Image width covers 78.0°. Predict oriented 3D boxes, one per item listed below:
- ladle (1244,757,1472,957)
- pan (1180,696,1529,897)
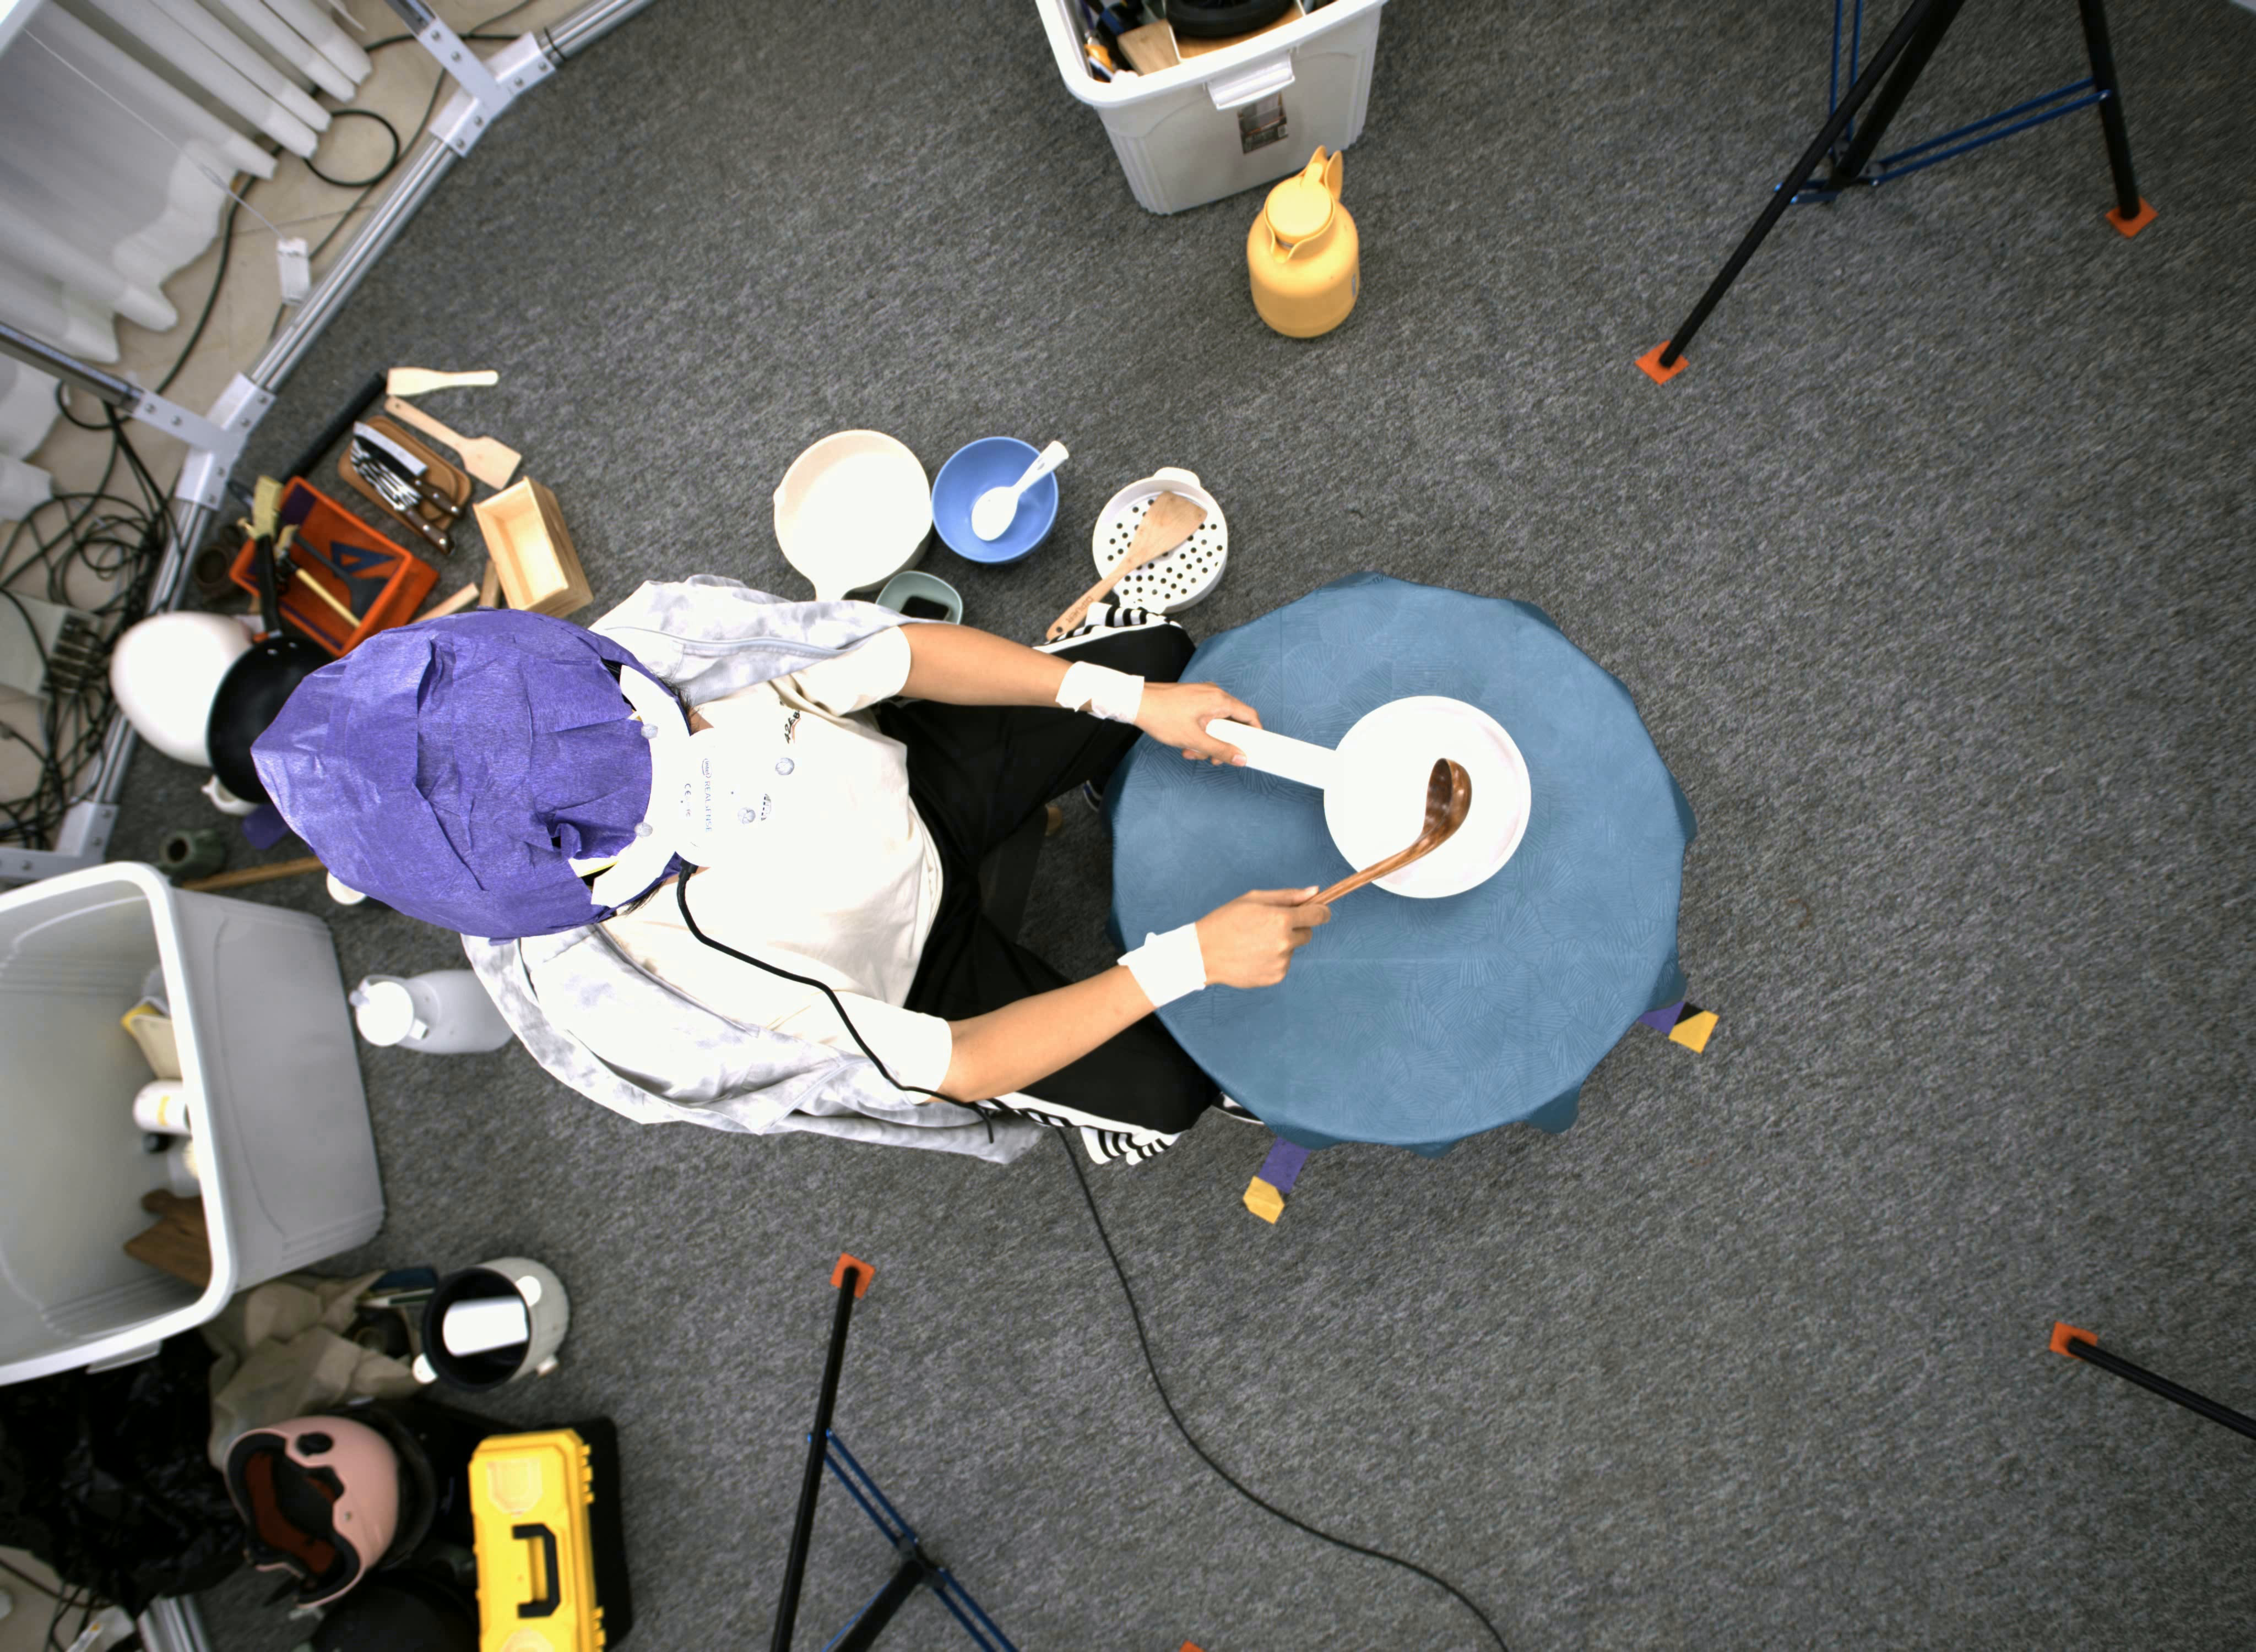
[{"bbox_3d":[0.215,0.024,1.321,0.274,0.082,0.076,-29,78,-3],"label":"ladle"},{"bbox_3d":[0.230,-0.049,1.422,0.355,0.102,0.201,17,91,11],"label":"pan"}]
